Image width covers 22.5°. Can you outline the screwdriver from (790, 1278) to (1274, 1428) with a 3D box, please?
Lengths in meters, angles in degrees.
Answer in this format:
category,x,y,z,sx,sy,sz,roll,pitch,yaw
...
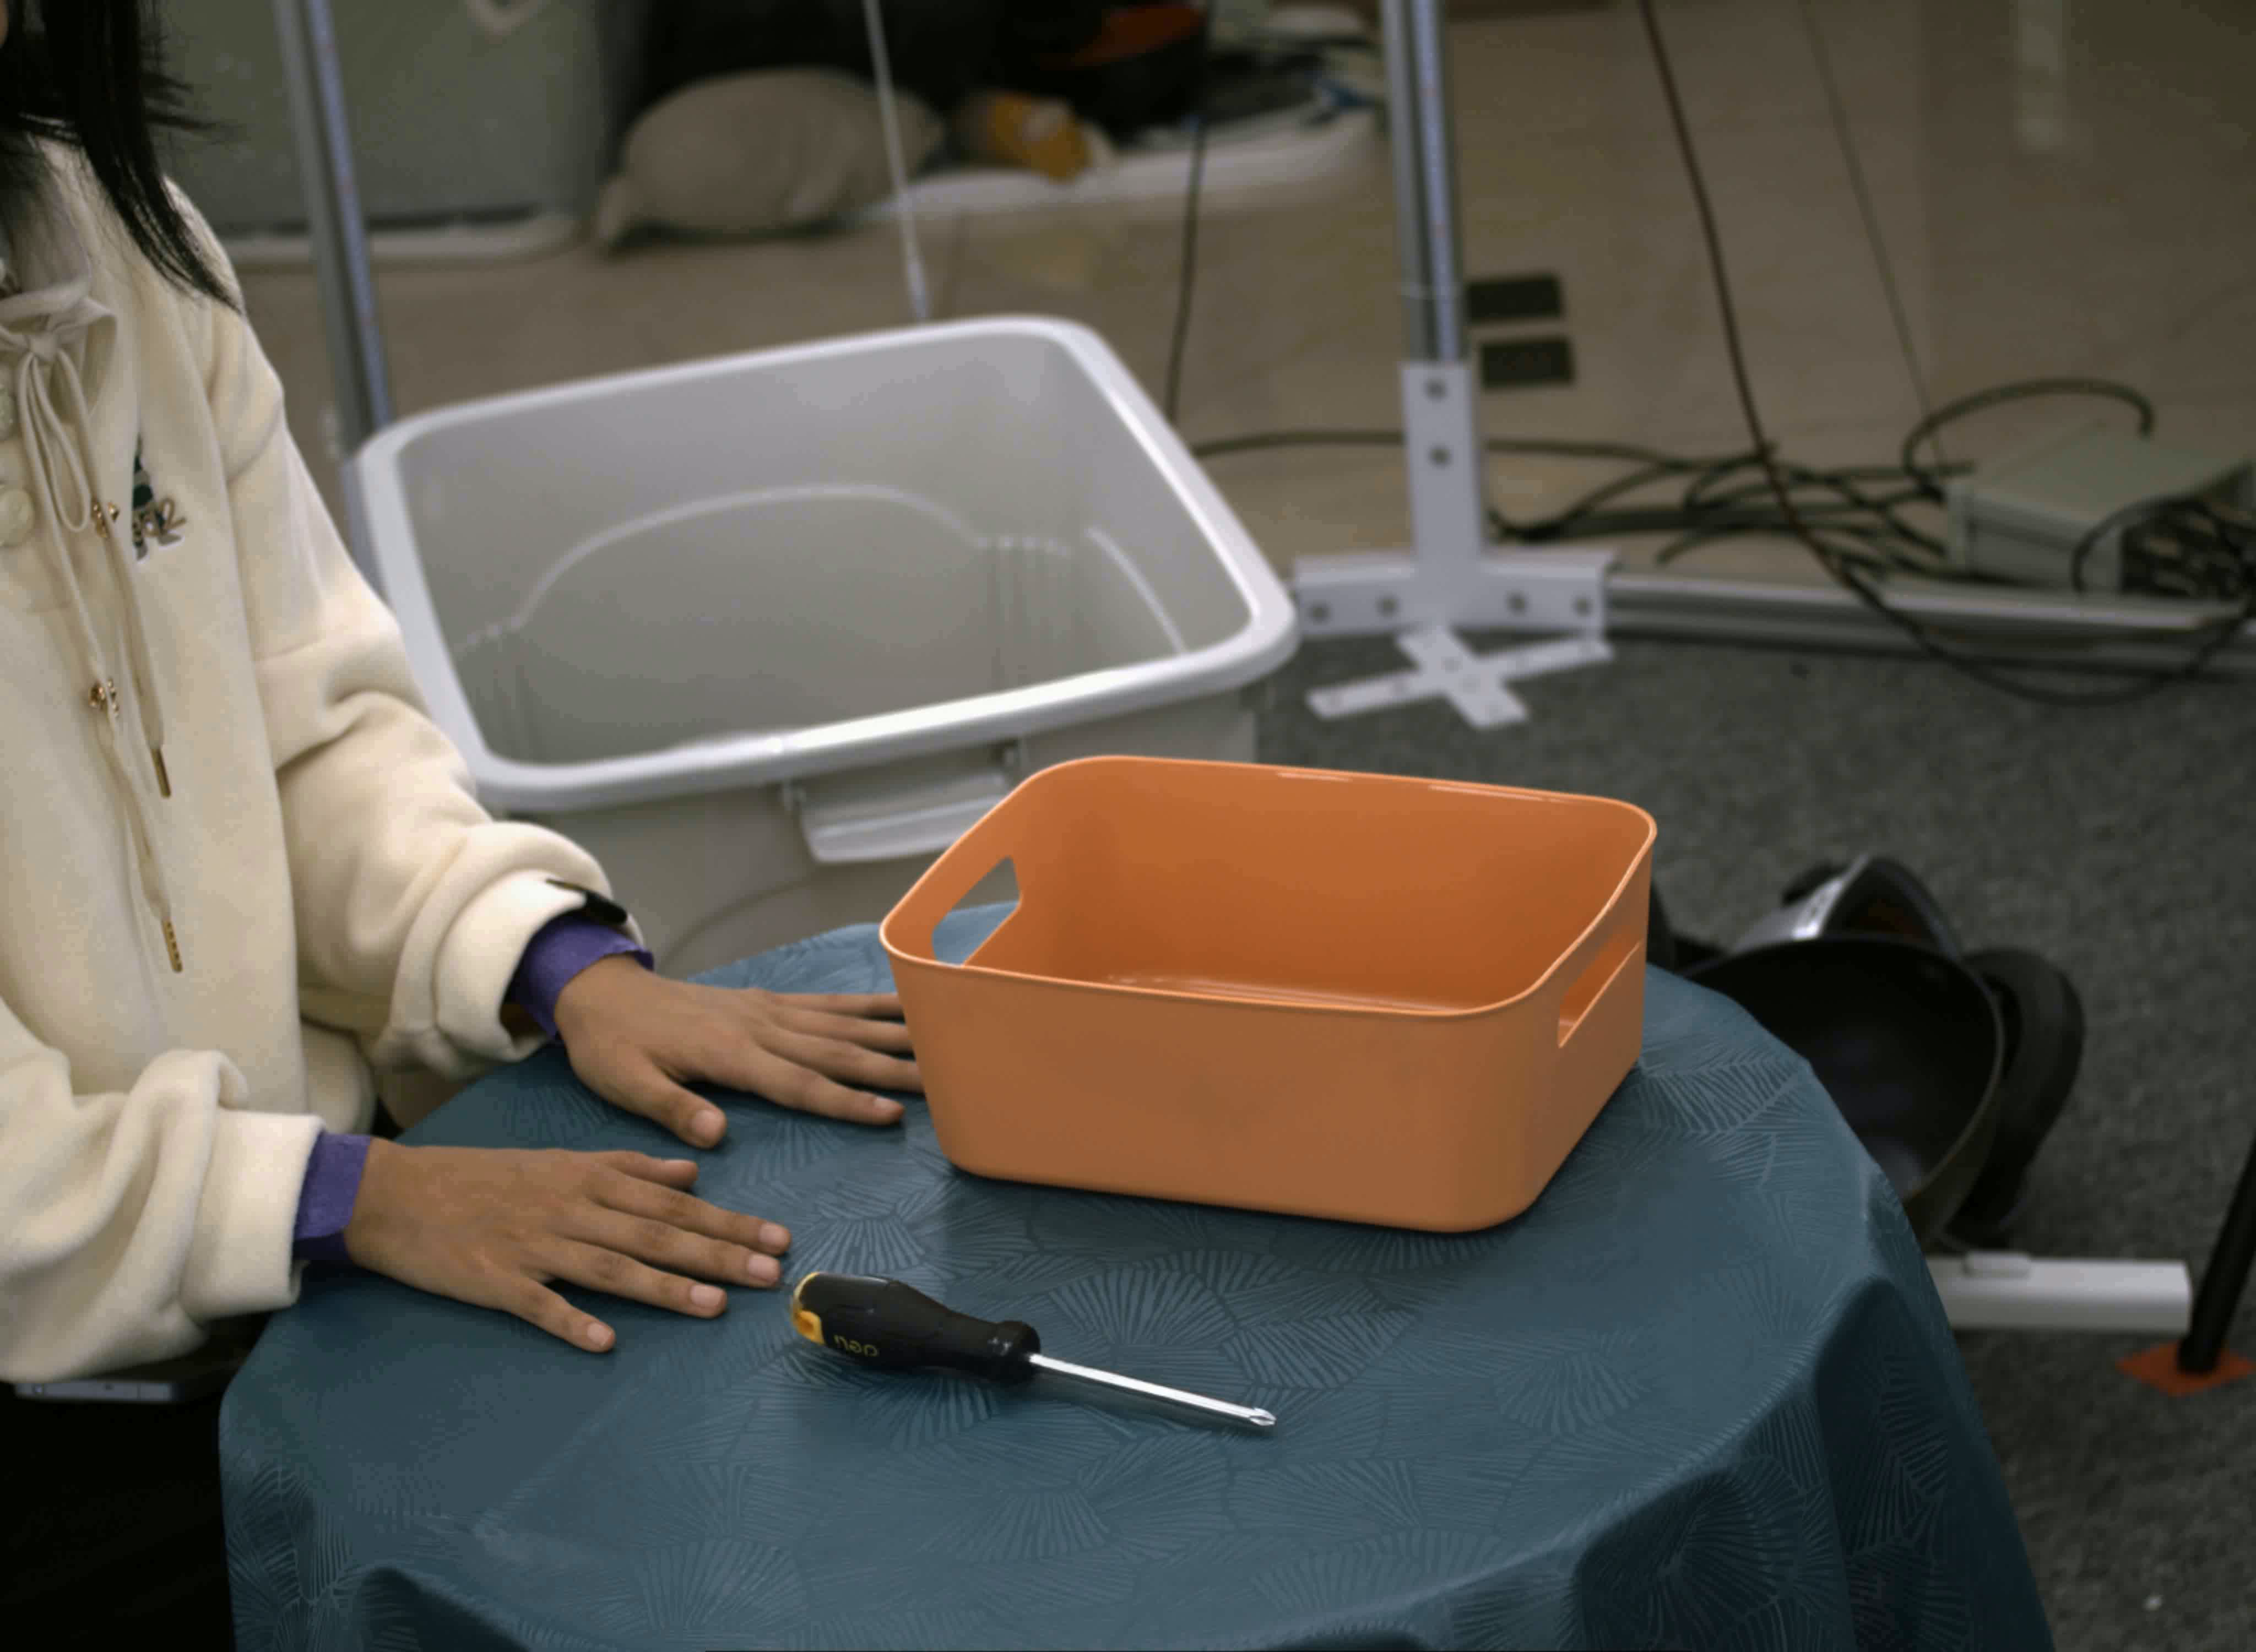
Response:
category,x,y,z,sx,sy,sz,roll,pitch,yaw
screwdriver,-0.036,0.194,2.018,0.195,0.032,0.031,14,32,28

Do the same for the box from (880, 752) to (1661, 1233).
category,x,y,z,sx,sy,sz,roll,pitch,yaw
box,0.060,0.063,2.171,0.272,0.104,0.197,6,28,24
